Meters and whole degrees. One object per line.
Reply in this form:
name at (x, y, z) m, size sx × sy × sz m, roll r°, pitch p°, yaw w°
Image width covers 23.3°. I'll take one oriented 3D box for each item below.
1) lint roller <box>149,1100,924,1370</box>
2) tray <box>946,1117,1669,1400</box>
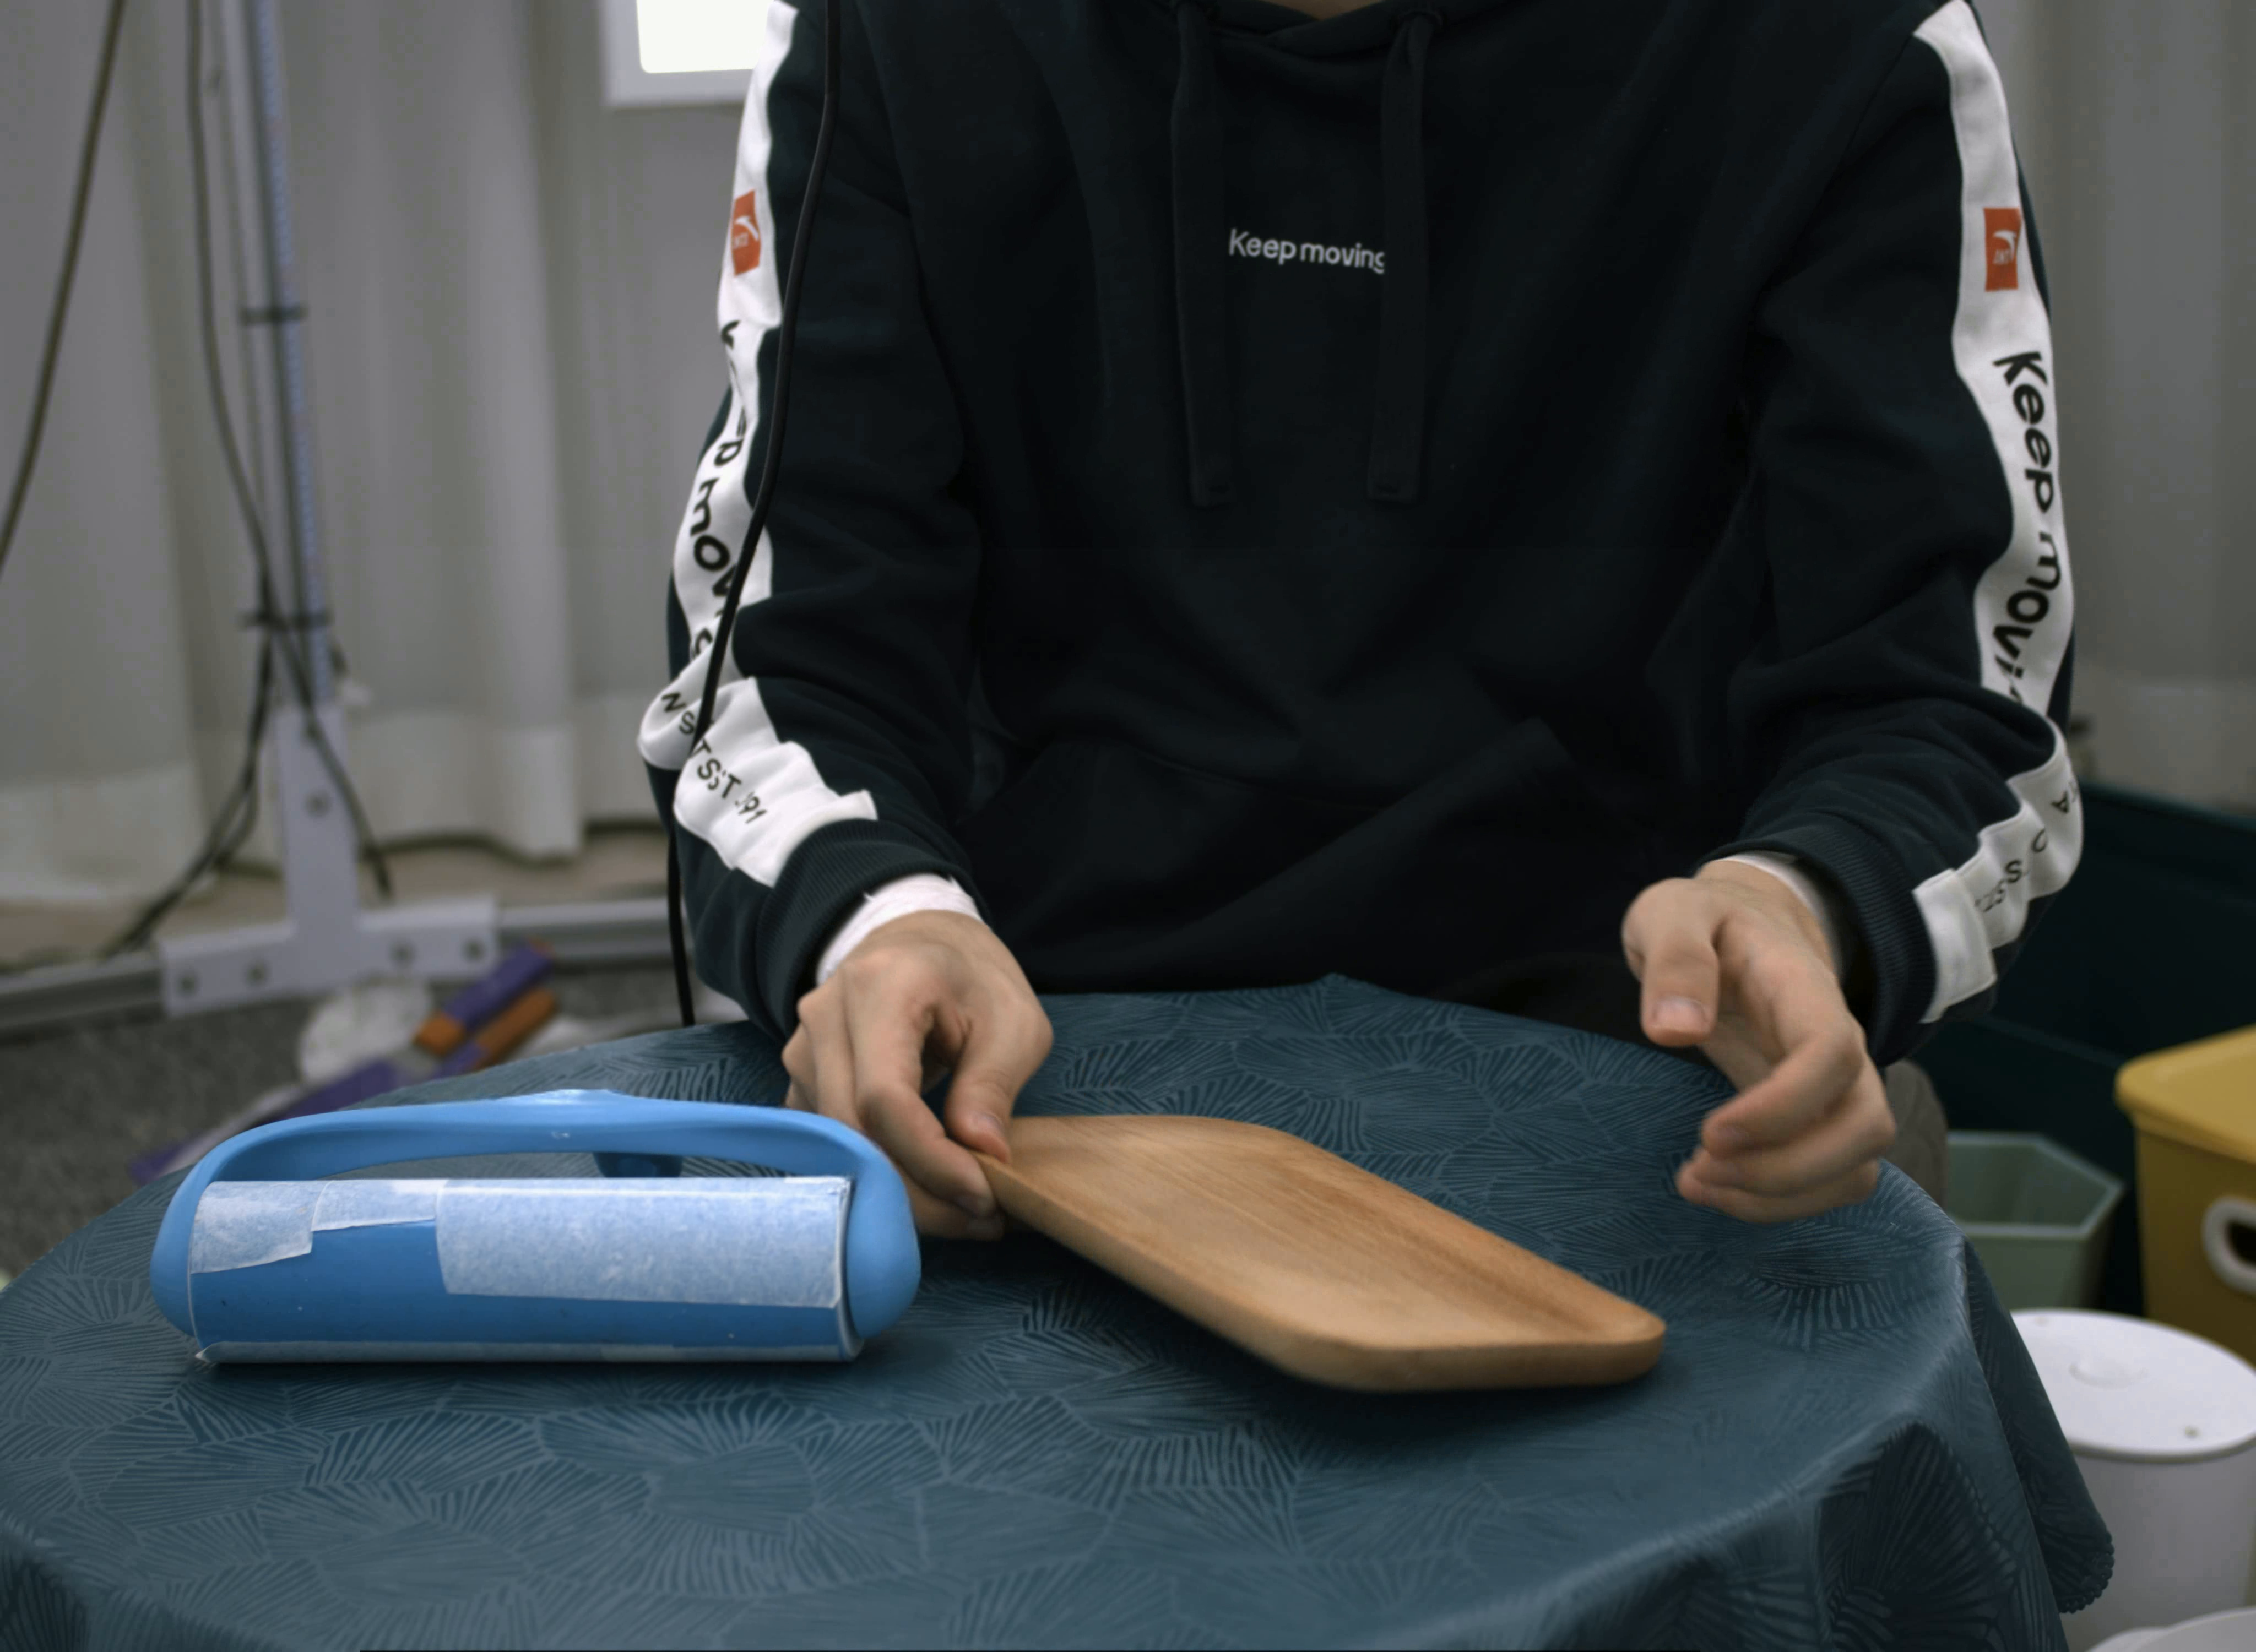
lint roller at (-0.168, 0.113, 1.646) m, size 0.228 × 0.067 × 0.181 m, roll -3°, pitch 15°, yaw 6°
tray at (0.047, 0.124, 1.599) m, size 0.129 × 0.023 × 0.252 m, roll 4°, pitch 9°, yaw -28°
